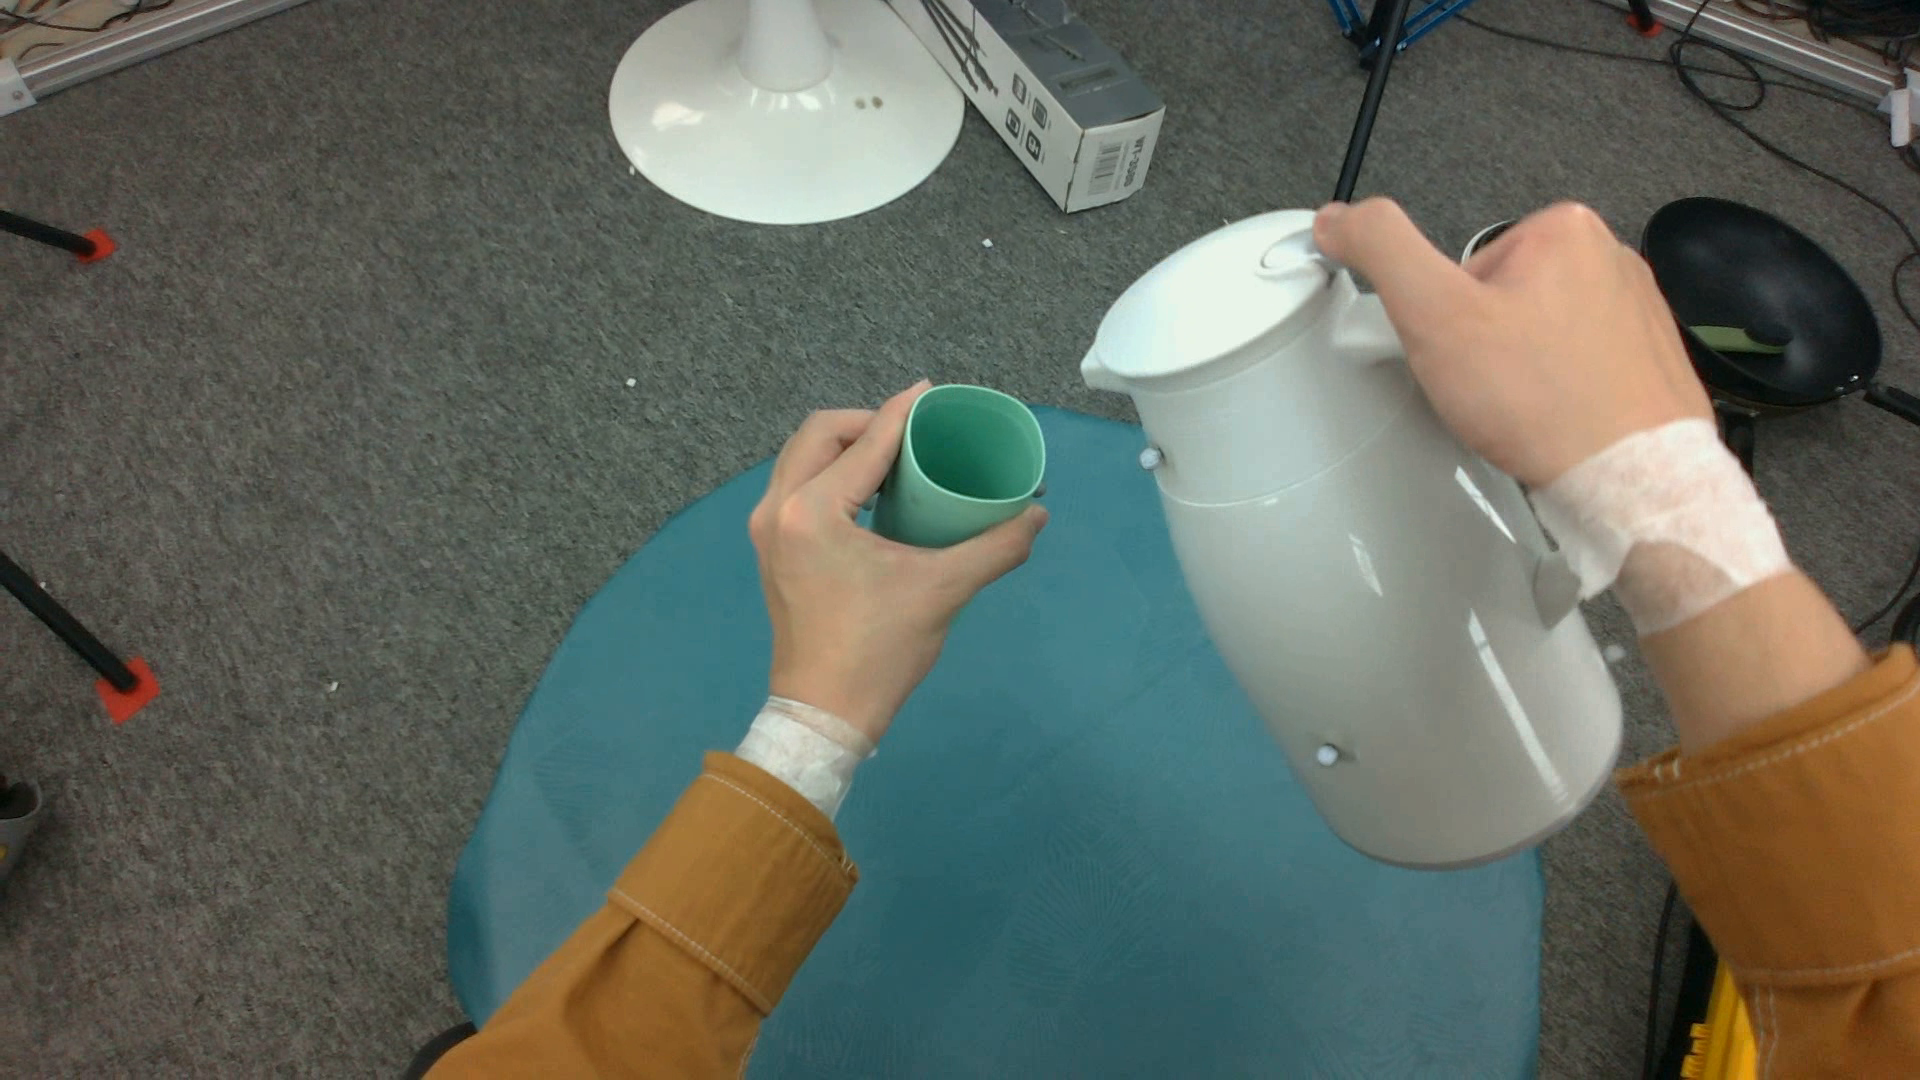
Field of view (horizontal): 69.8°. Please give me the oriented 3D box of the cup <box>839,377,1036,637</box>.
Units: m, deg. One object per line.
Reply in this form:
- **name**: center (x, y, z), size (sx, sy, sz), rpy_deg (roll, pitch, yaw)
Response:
- **cup**: center (-0.014, -0.011, 0.649), size (0.067, 0.131, 0.067), rpy_deg (9, 55, -13)

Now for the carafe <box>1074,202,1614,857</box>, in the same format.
- **carafe**: center (0.160, -0.010, 0.519), size (0.167, 0.248, 0.133), rpy_deg (-9, 37, 41)
